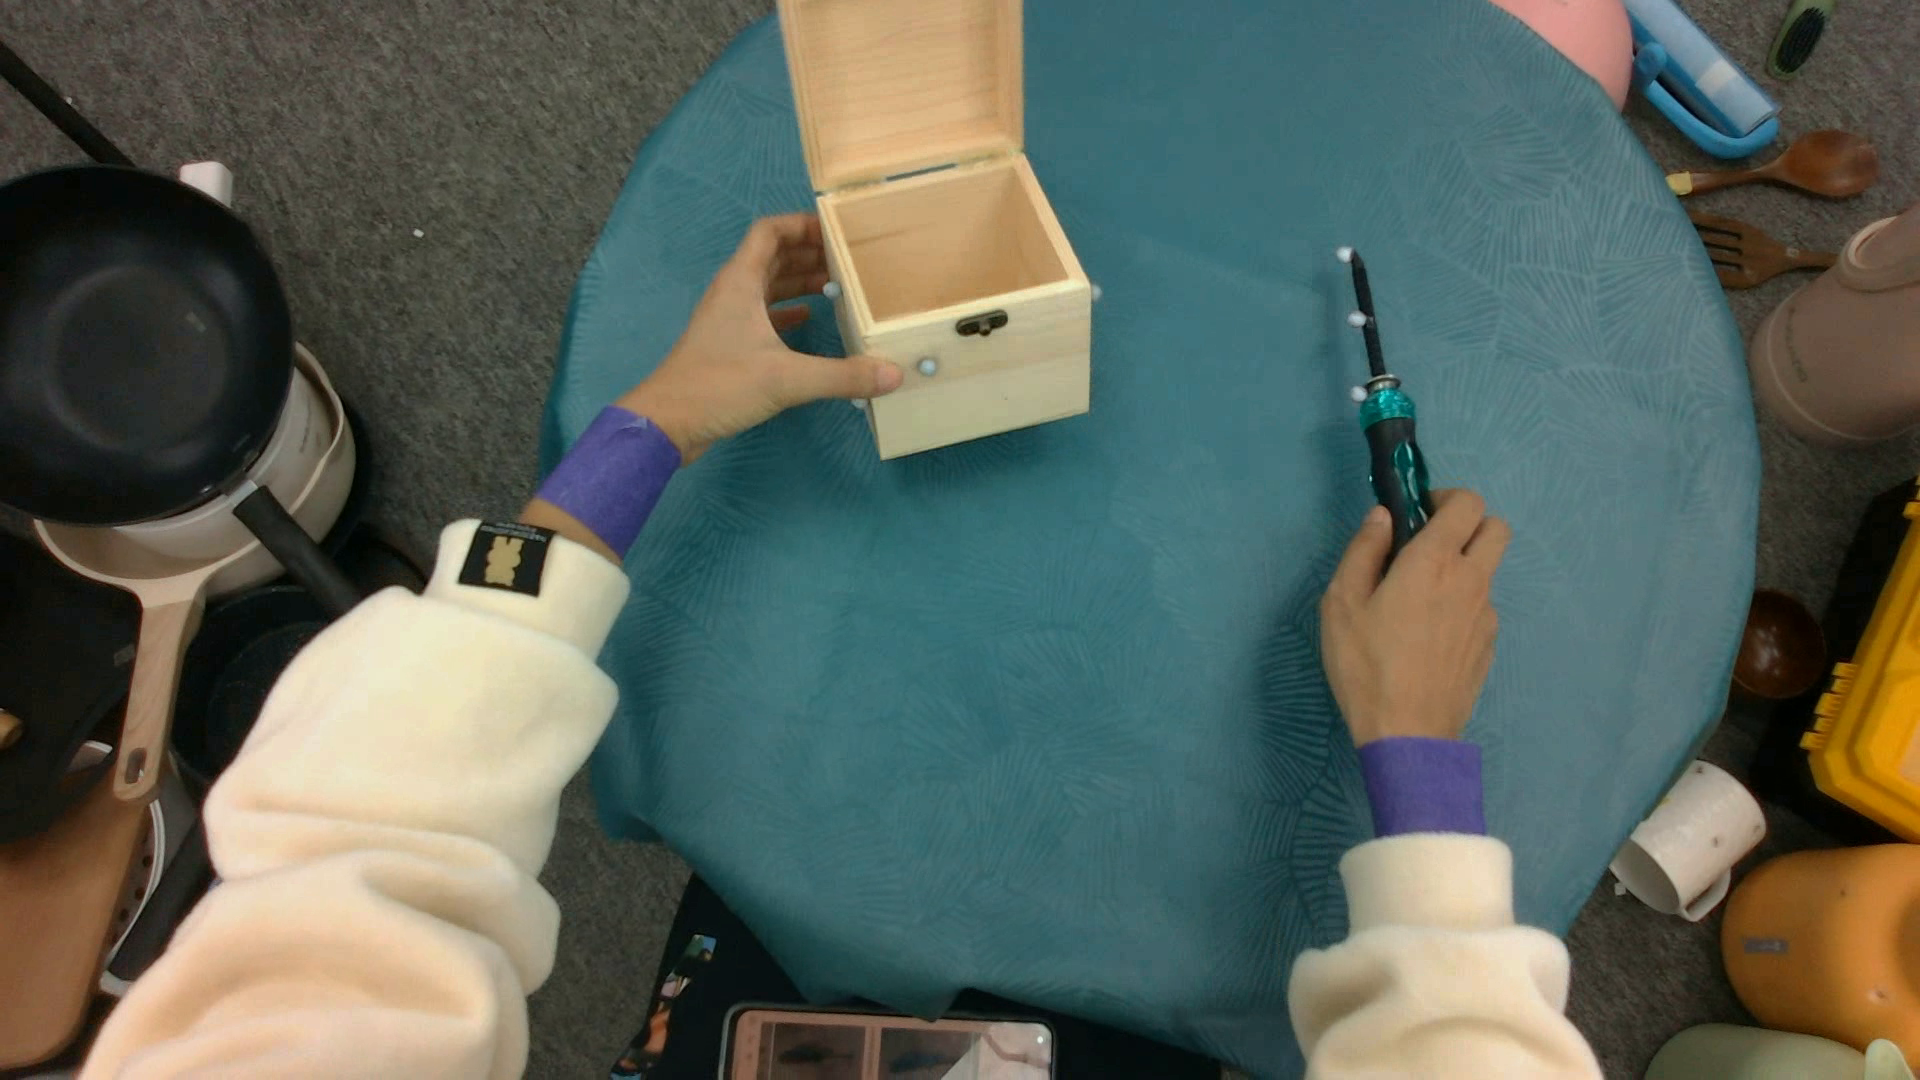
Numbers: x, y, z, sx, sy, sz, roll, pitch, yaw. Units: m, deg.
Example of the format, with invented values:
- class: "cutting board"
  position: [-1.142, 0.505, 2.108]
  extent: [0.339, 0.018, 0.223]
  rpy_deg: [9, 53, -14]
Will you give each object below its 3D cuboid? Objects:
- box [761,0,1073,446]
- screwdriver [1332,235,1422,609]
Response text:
- class: "box"
  position: [-0.017, -0.155, 0.605]
  extent: [0.103, 0.183, 0.134]
  rpy_deg: [-14, 50, -8]
- class: "screwdriver"
  position: [0.193, -0.061, 0.657]
  extent: [0.034, 0.033, 0.190]
  rpy_deg: [-2, 72, -2]
